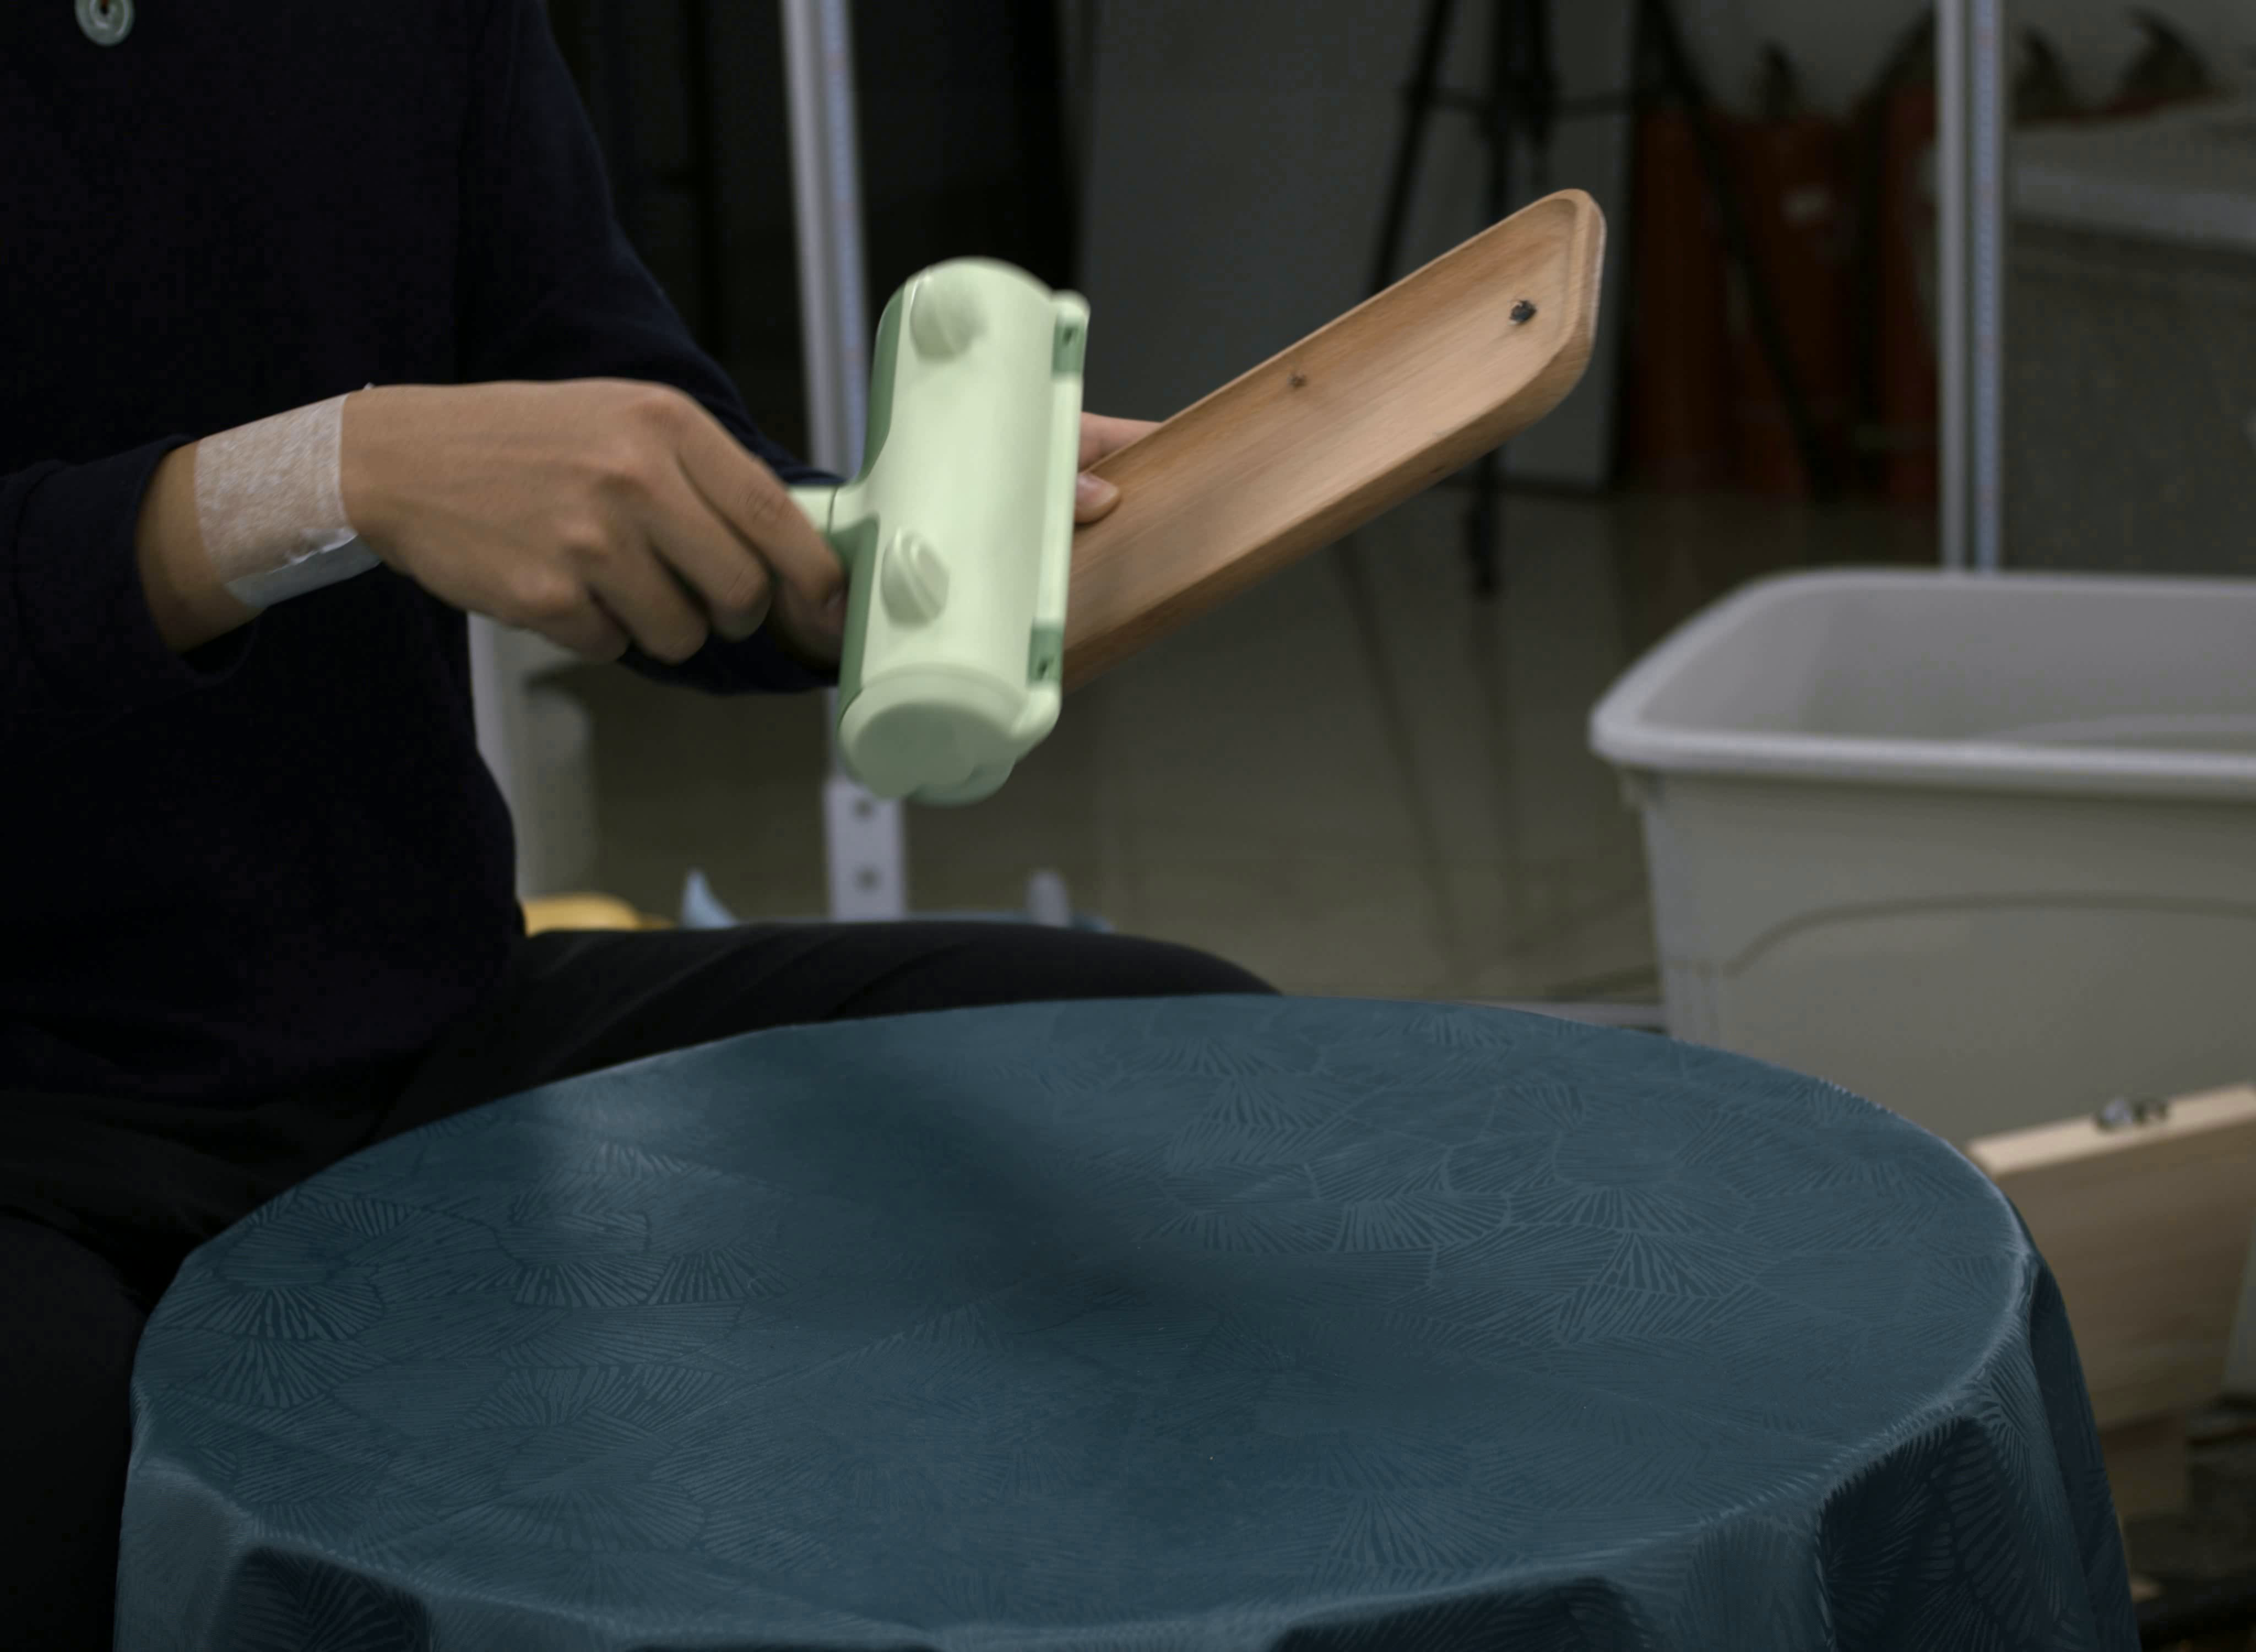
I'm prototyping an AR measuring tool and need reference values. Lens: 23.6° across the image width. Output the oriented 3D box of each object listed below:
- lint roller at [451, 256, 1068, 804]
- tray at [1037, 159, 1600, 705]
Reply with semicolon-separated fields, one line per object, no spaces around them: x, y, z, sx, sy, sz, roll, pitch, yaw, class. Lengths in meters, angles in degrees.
-0.111;-0.101;1.617;0.181;0.083;0.200;5;45;-2;lint roller
0.043;-0.116;1.674;0.252;0.023;0.130;-31;22;26;tray
